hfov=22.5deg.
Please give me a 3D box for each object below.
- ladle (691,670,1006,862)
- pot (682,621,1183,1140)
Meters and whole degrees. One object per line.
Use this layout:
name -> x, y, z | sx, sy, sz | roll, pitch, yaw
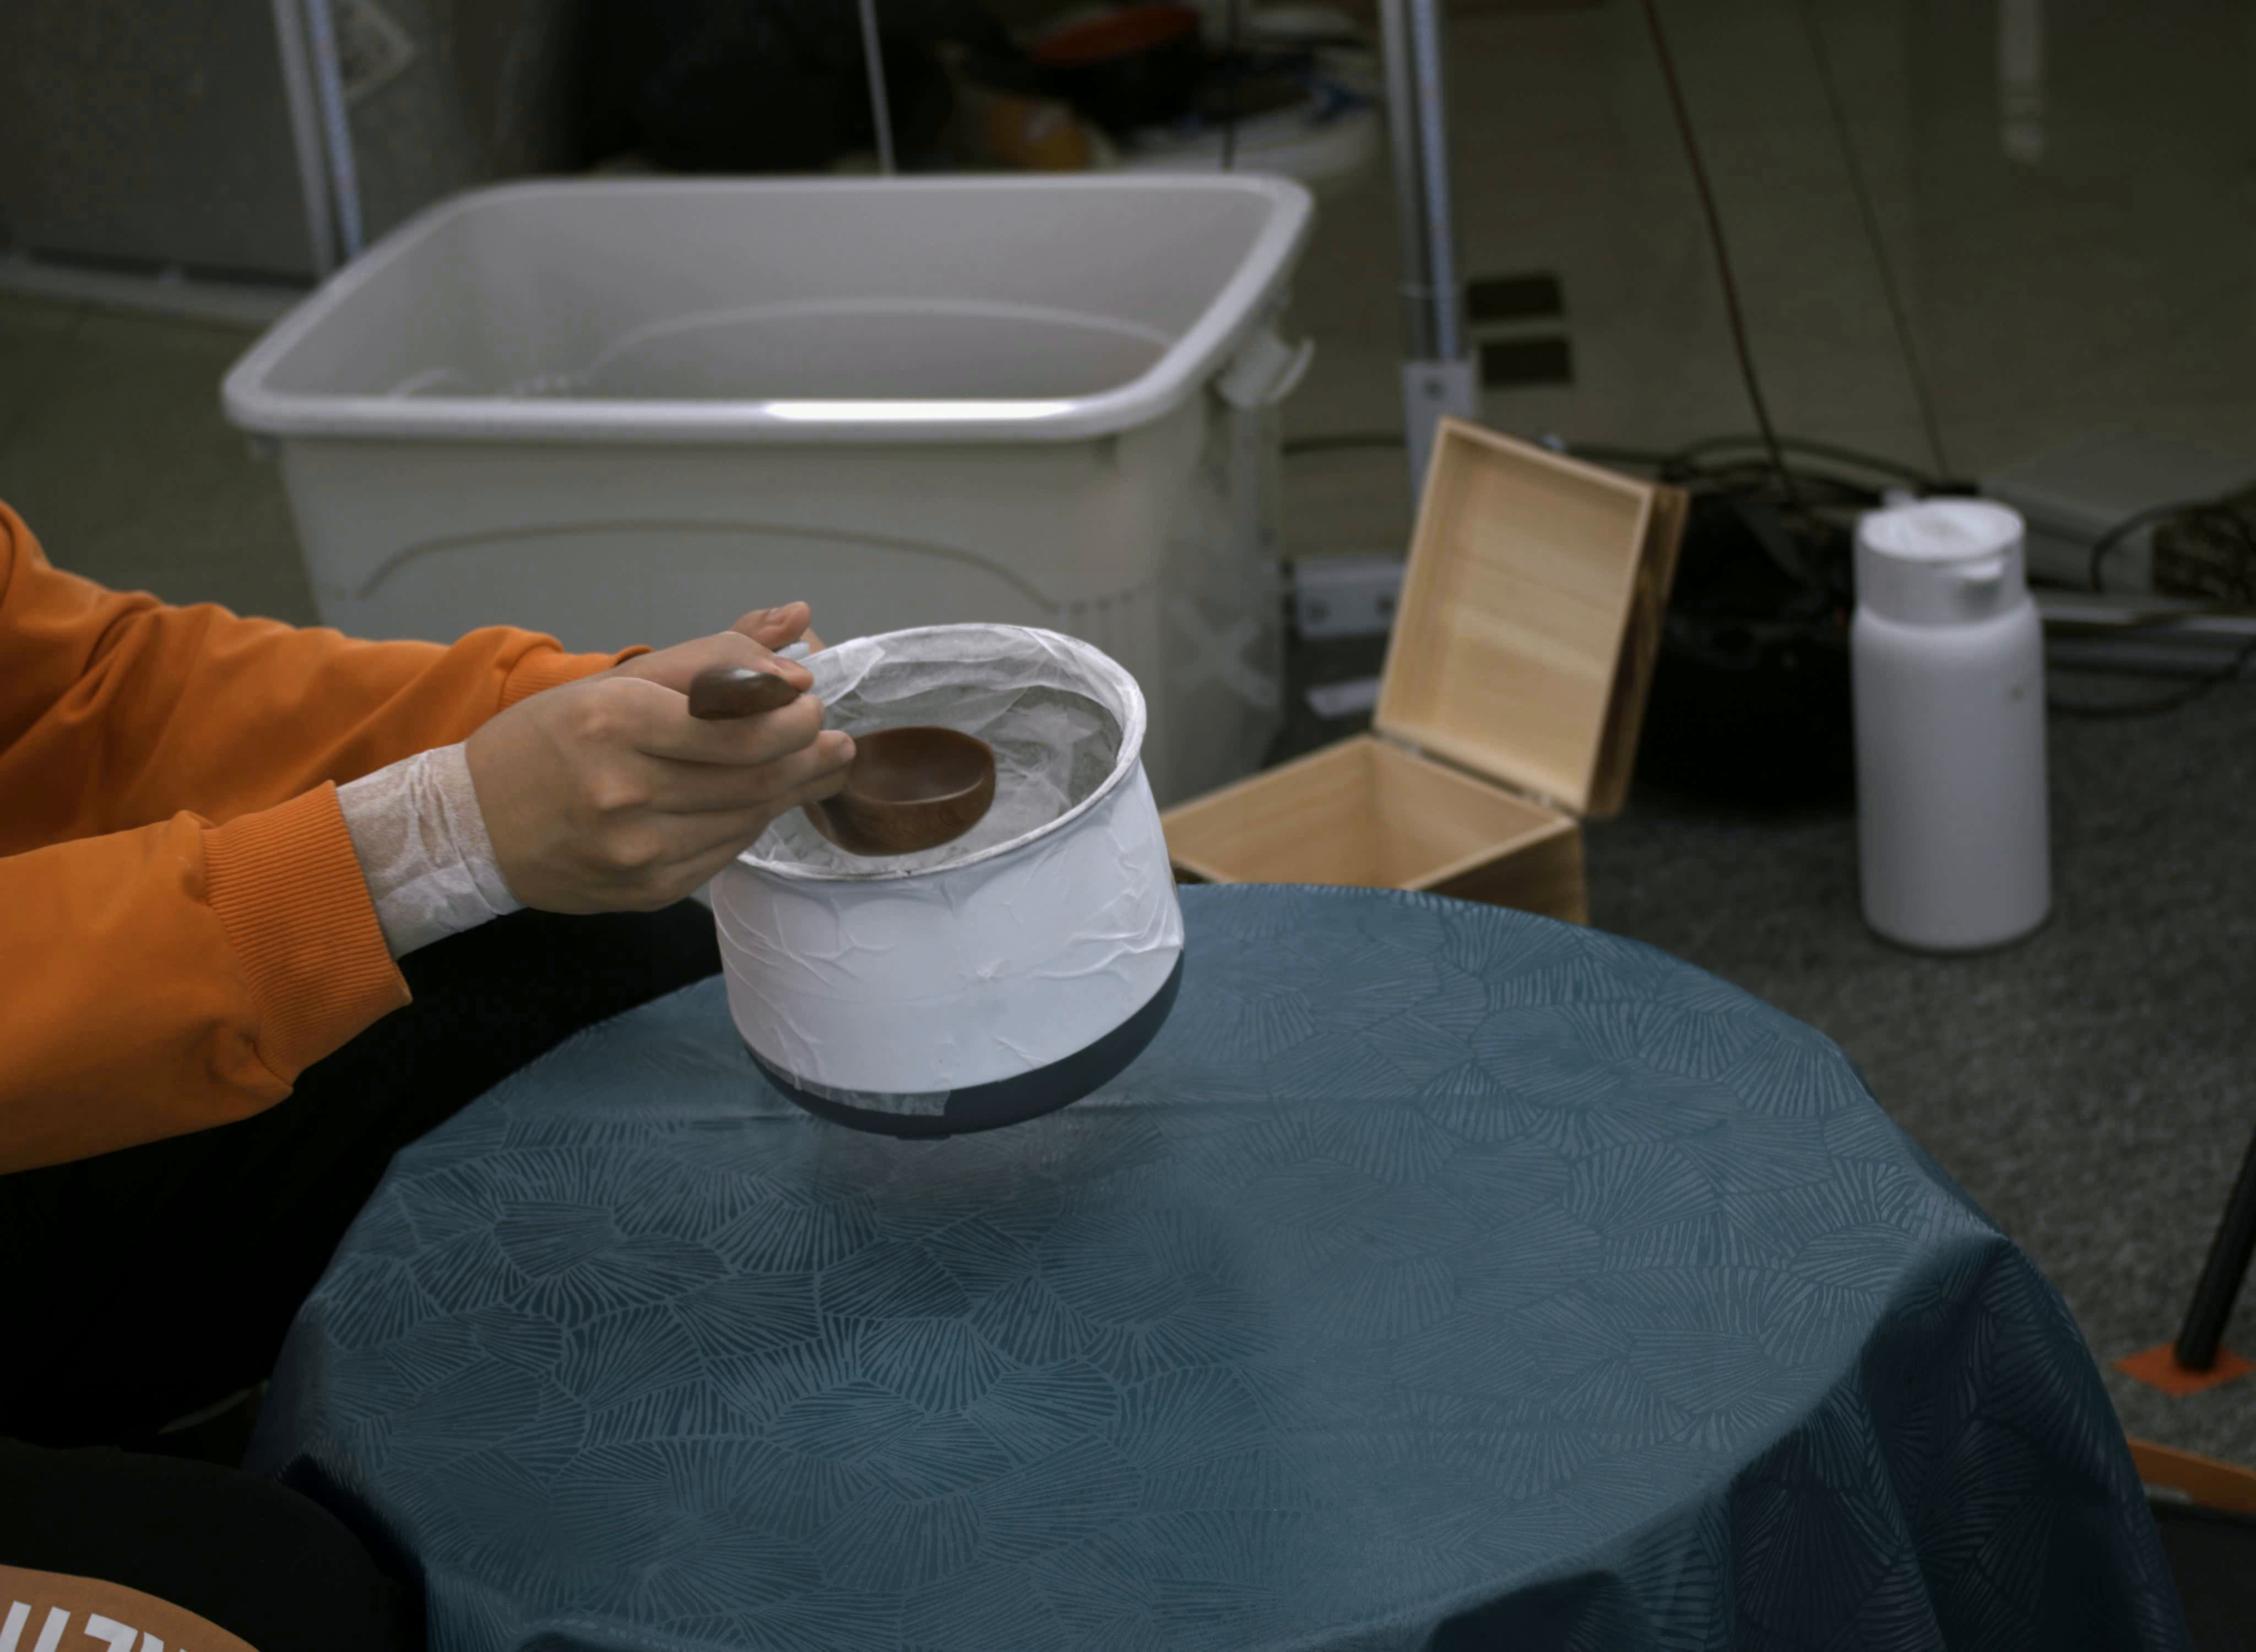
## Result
ladle -> -0.105, -0.036, 1.985 | 0.076, 0.064, 0.262 | -6, -15, 13
pot -> -0.086, 0.012, 2.160 | 0.177, 0.139, 0.231 | -25, 36, -24
